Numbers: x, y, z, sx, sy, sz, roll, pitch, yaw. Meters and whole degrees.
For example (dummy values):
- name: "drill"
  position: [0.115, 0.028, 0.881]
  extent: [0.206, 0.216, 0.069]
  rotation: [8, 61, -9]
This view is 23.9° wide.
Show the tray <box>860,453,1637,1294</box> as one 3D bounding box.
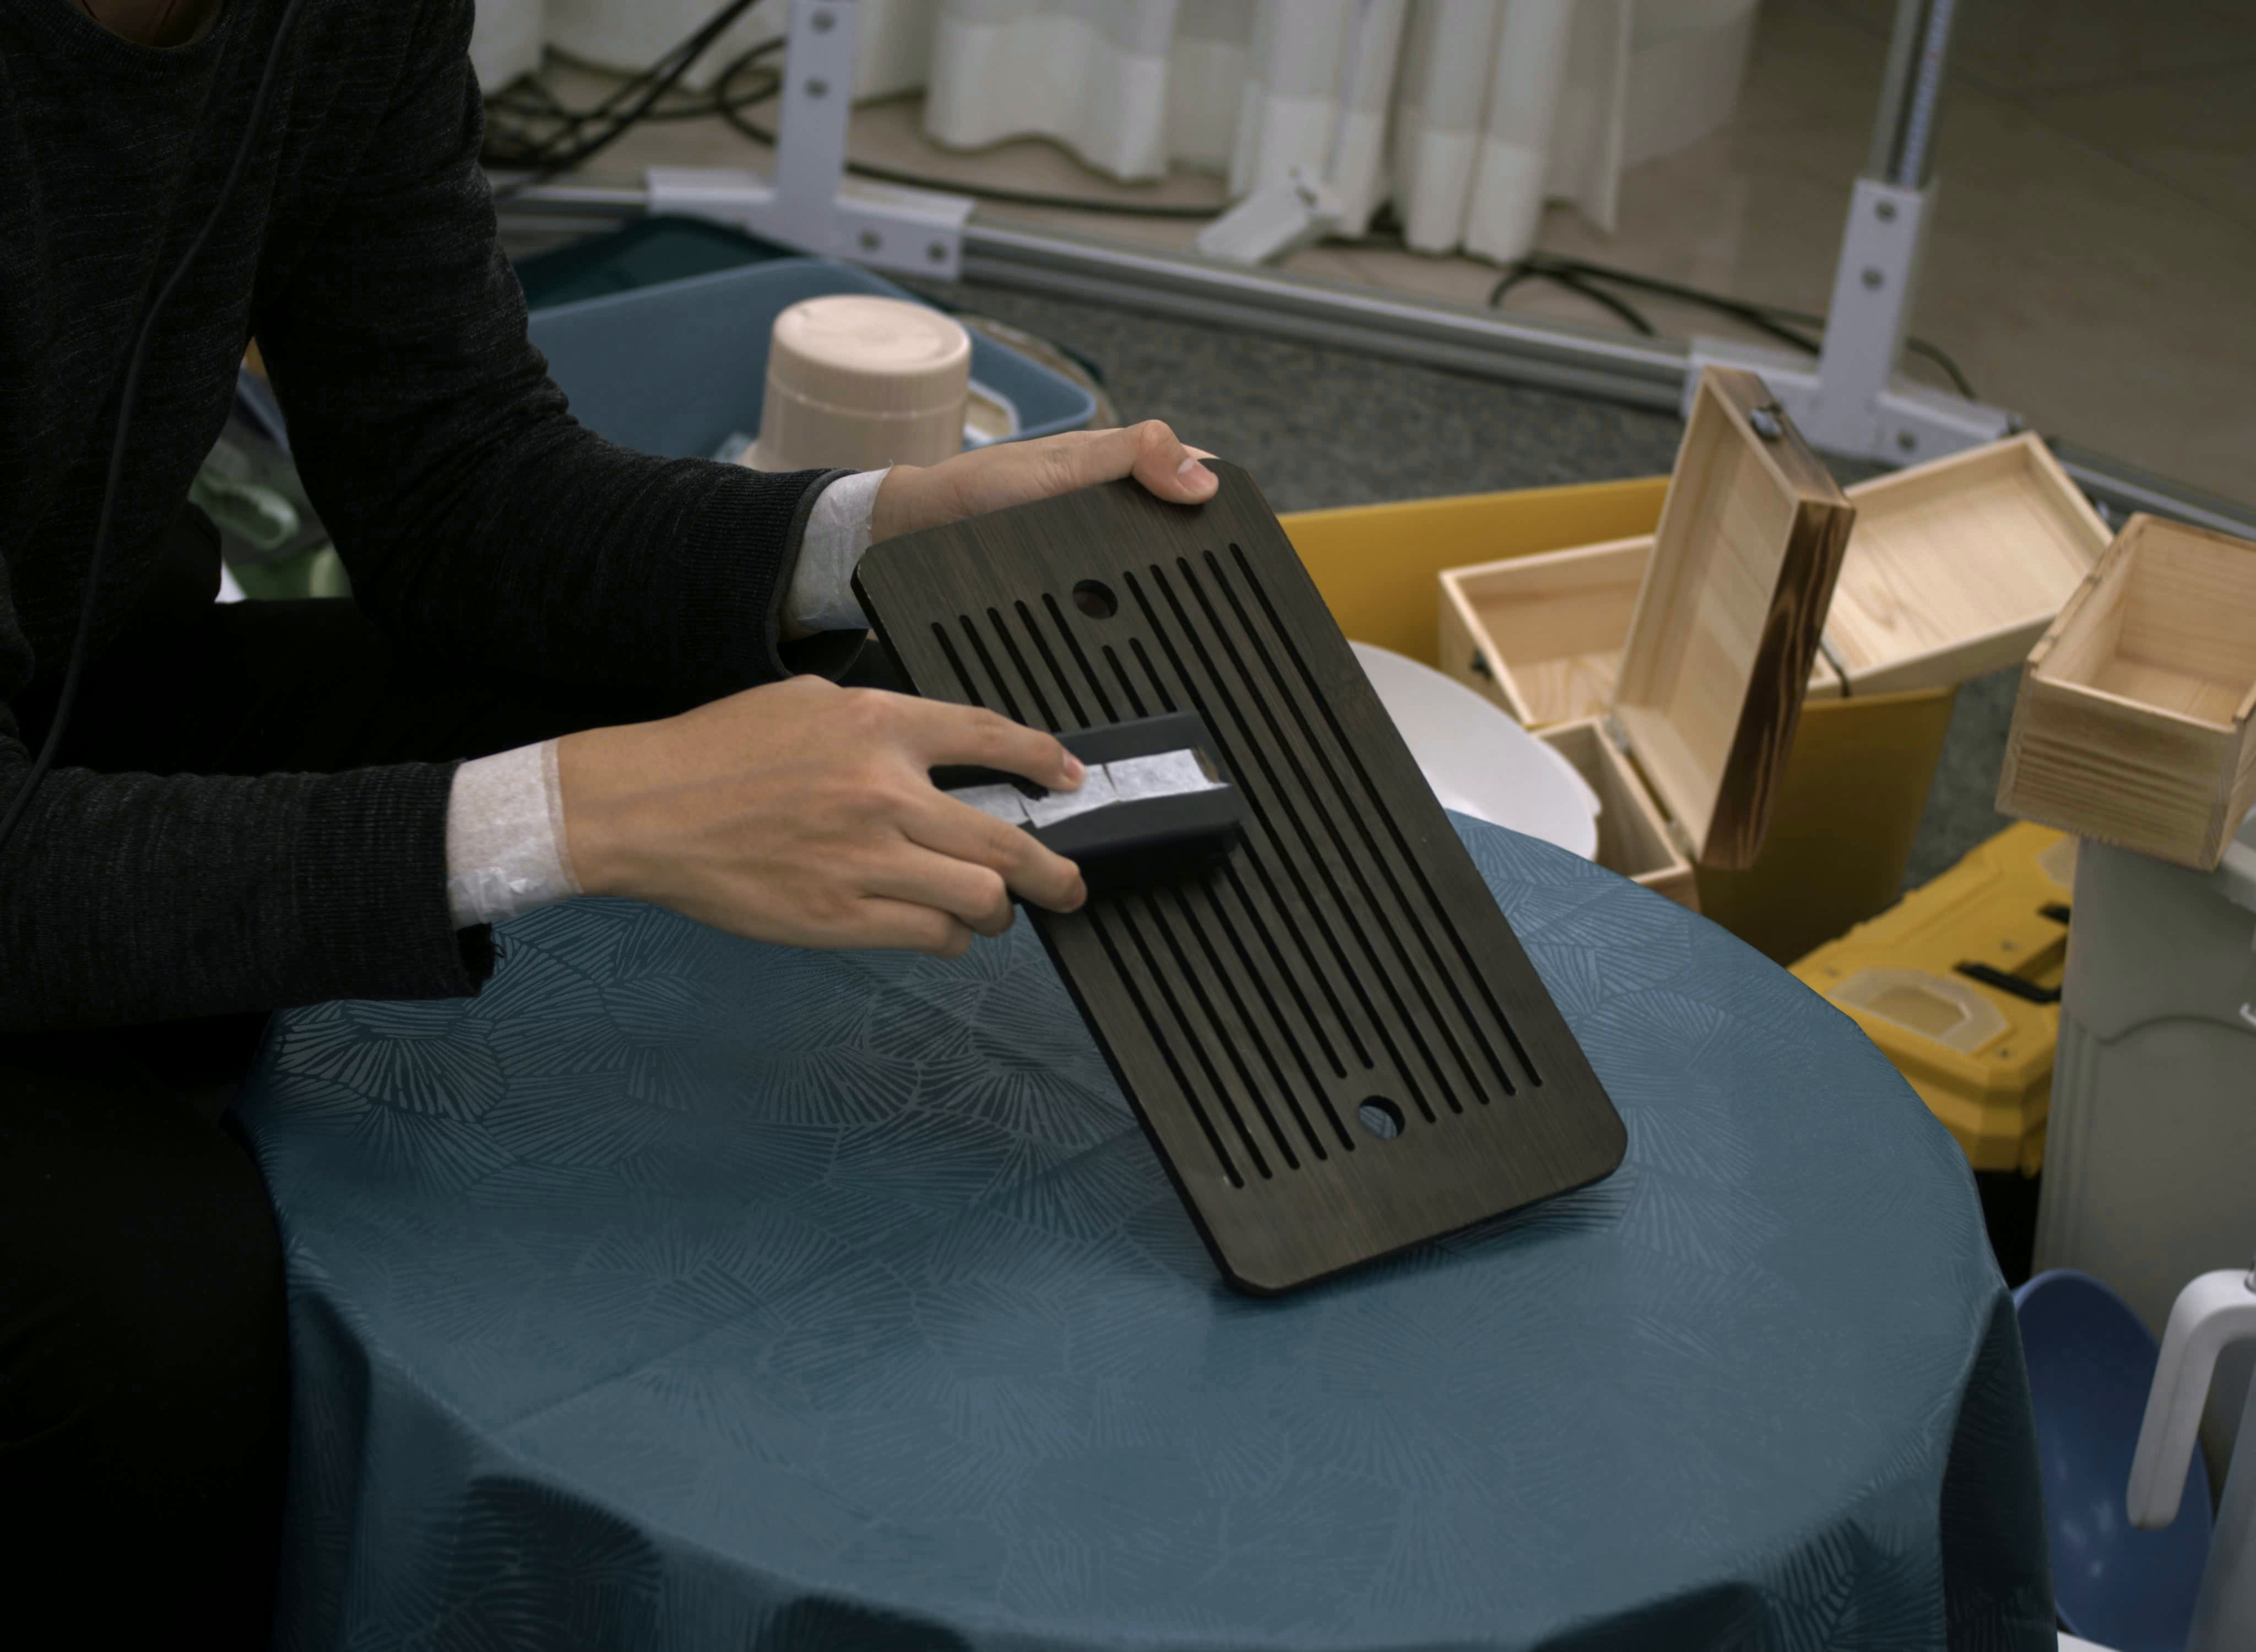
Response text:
- name: "tray"
  position: [0.039, 0.012, 1.841]
  extent: [0.169, 0.018, 0.308]
  rotation: [-16, 66, -30]

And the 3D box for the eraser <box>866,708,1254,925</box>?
- name: "eraser"
  position: [-0.023, -0.004, 1.796]
  extent: [0.125, 0.030, 0.054]
  rotation: [-12, 60, -29]
